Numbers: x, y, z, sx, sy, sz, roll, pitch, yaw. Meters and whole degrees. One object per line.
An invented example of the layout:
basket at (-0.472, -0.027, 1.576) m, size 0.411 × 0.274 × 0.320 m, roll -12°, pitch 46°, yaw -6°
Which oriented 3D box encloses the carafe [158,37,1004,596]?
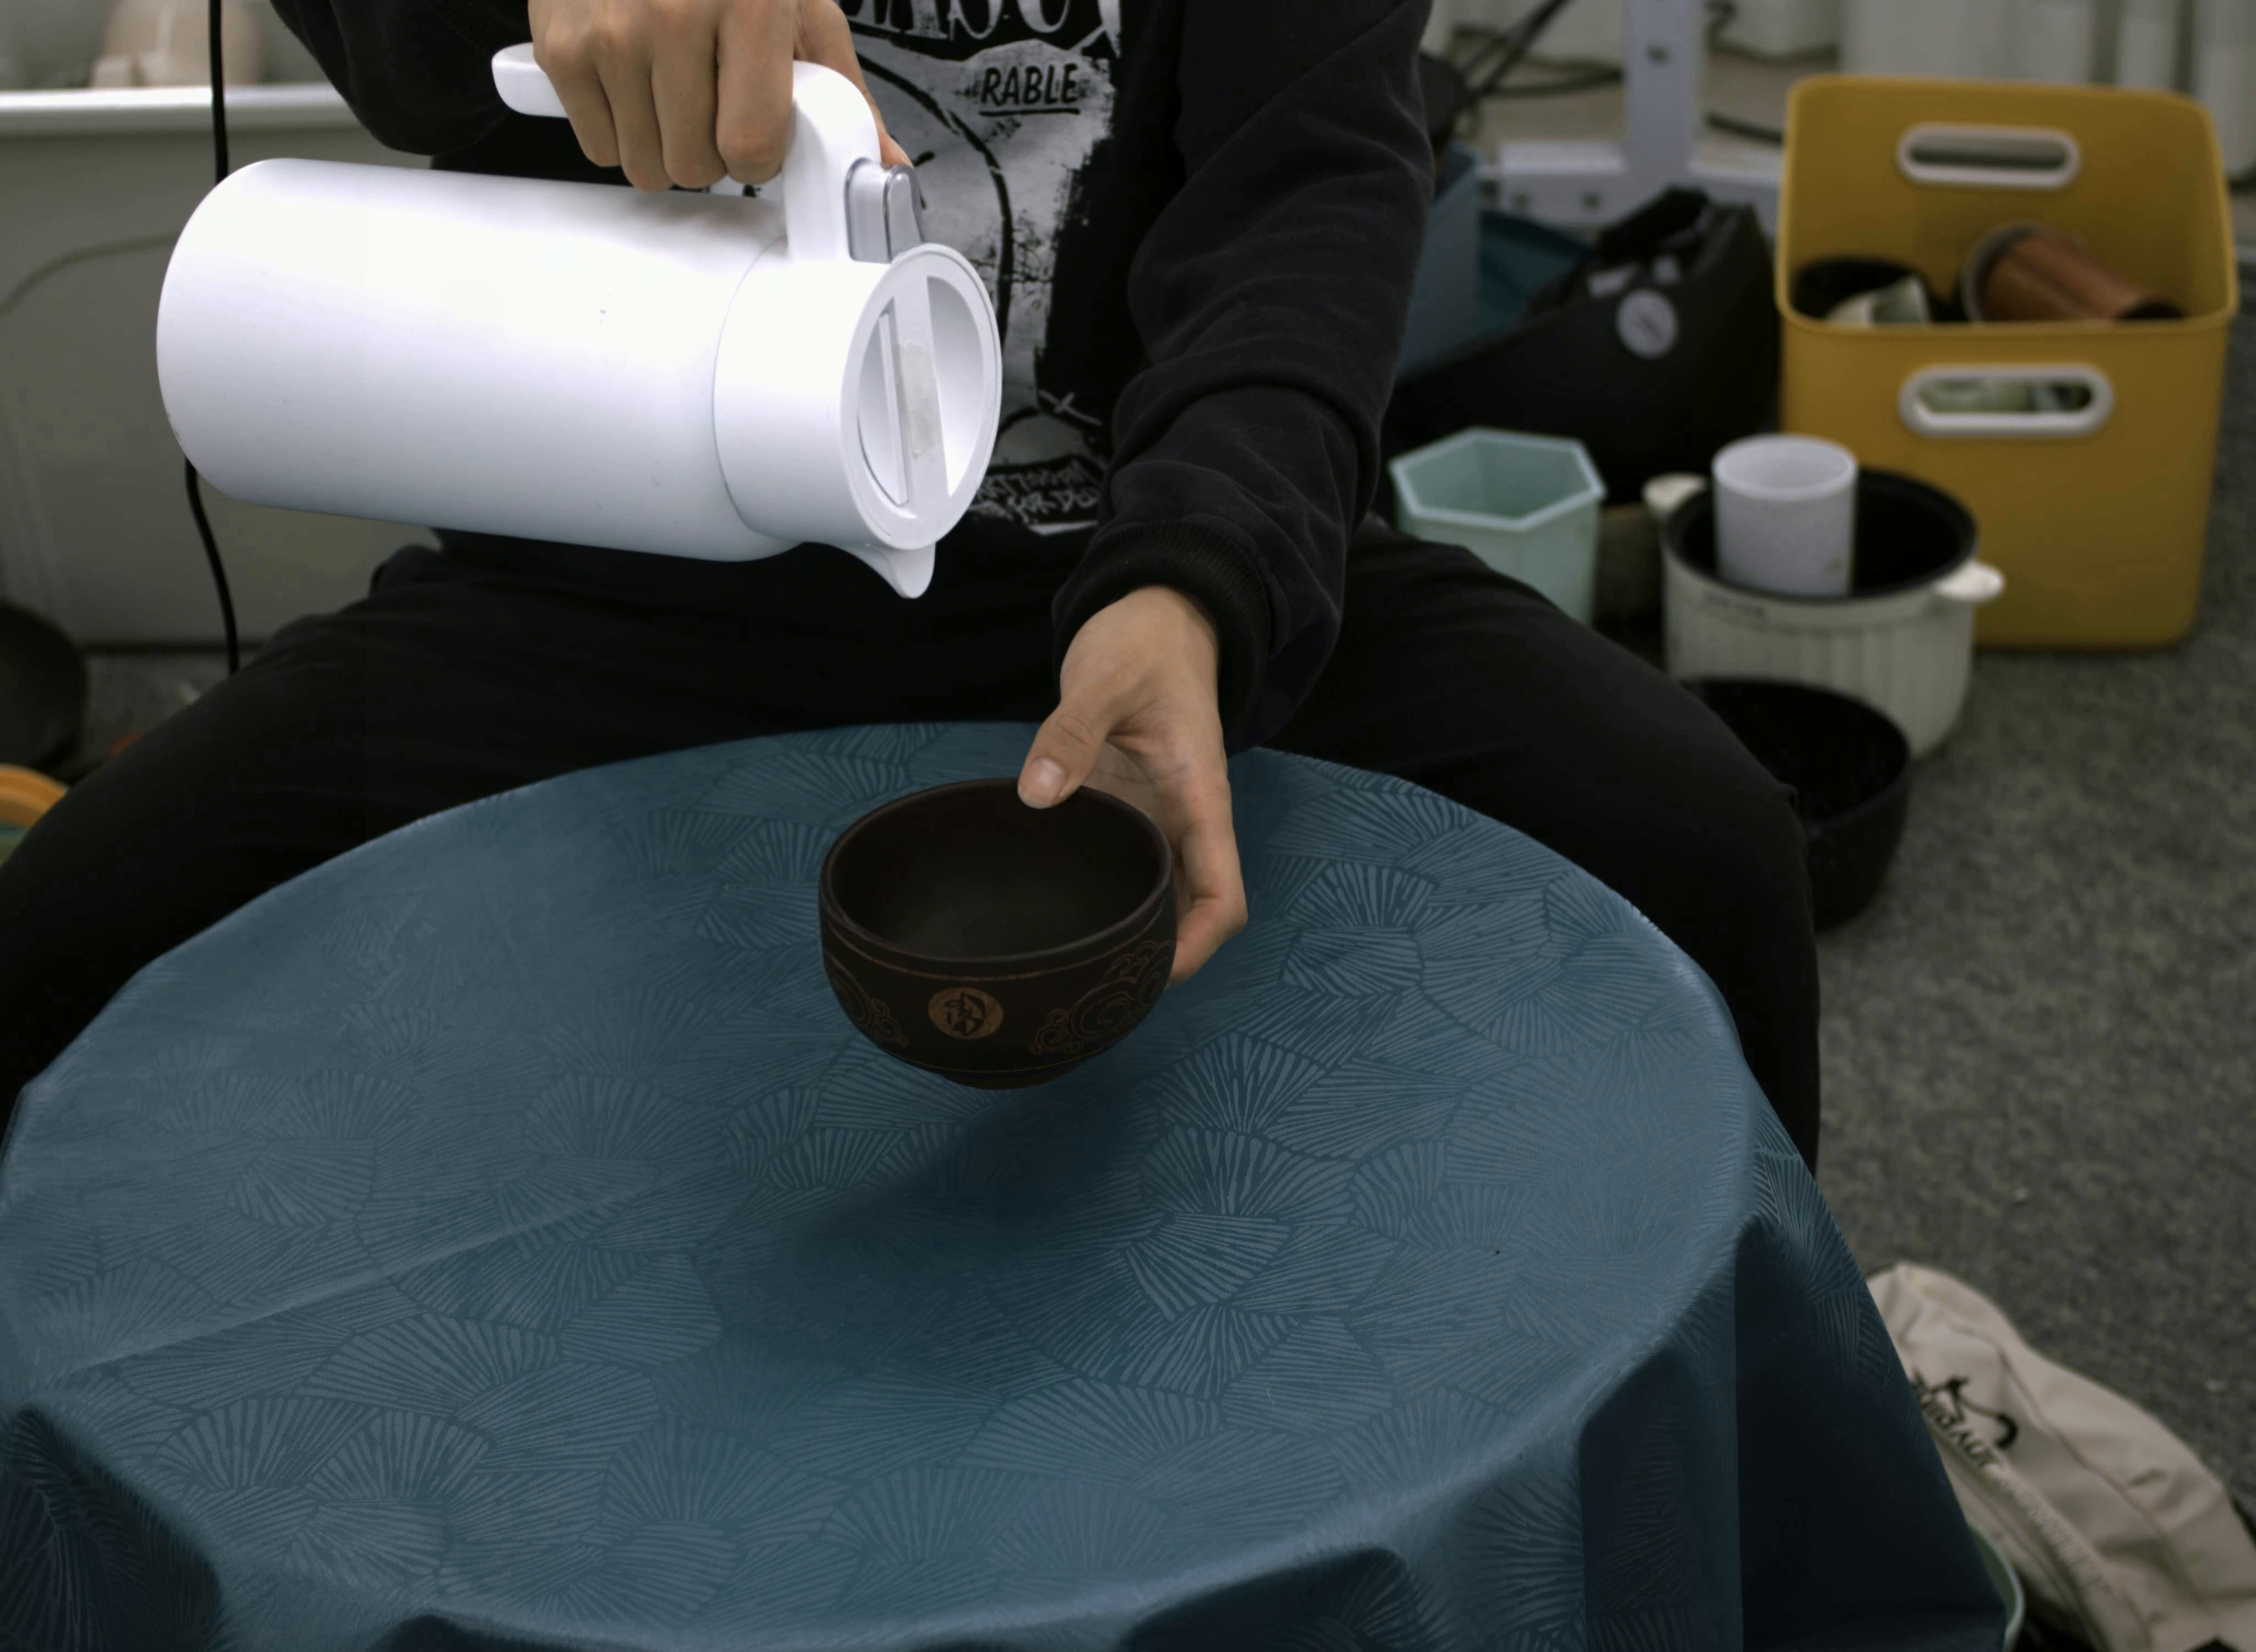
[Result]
carafe at (-0.180, -0.167, 1.822) m, size 0.267 × 0.171 × 0.126 m, roll 8°, pitch 26°, yaw 30°

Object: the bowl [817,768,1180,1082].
bowl at (-0.041, 0.039, 1.828) m, size 0.117 × 0.069 × 0.120 m, roll -2°, pitch 29°, yaw 2°
